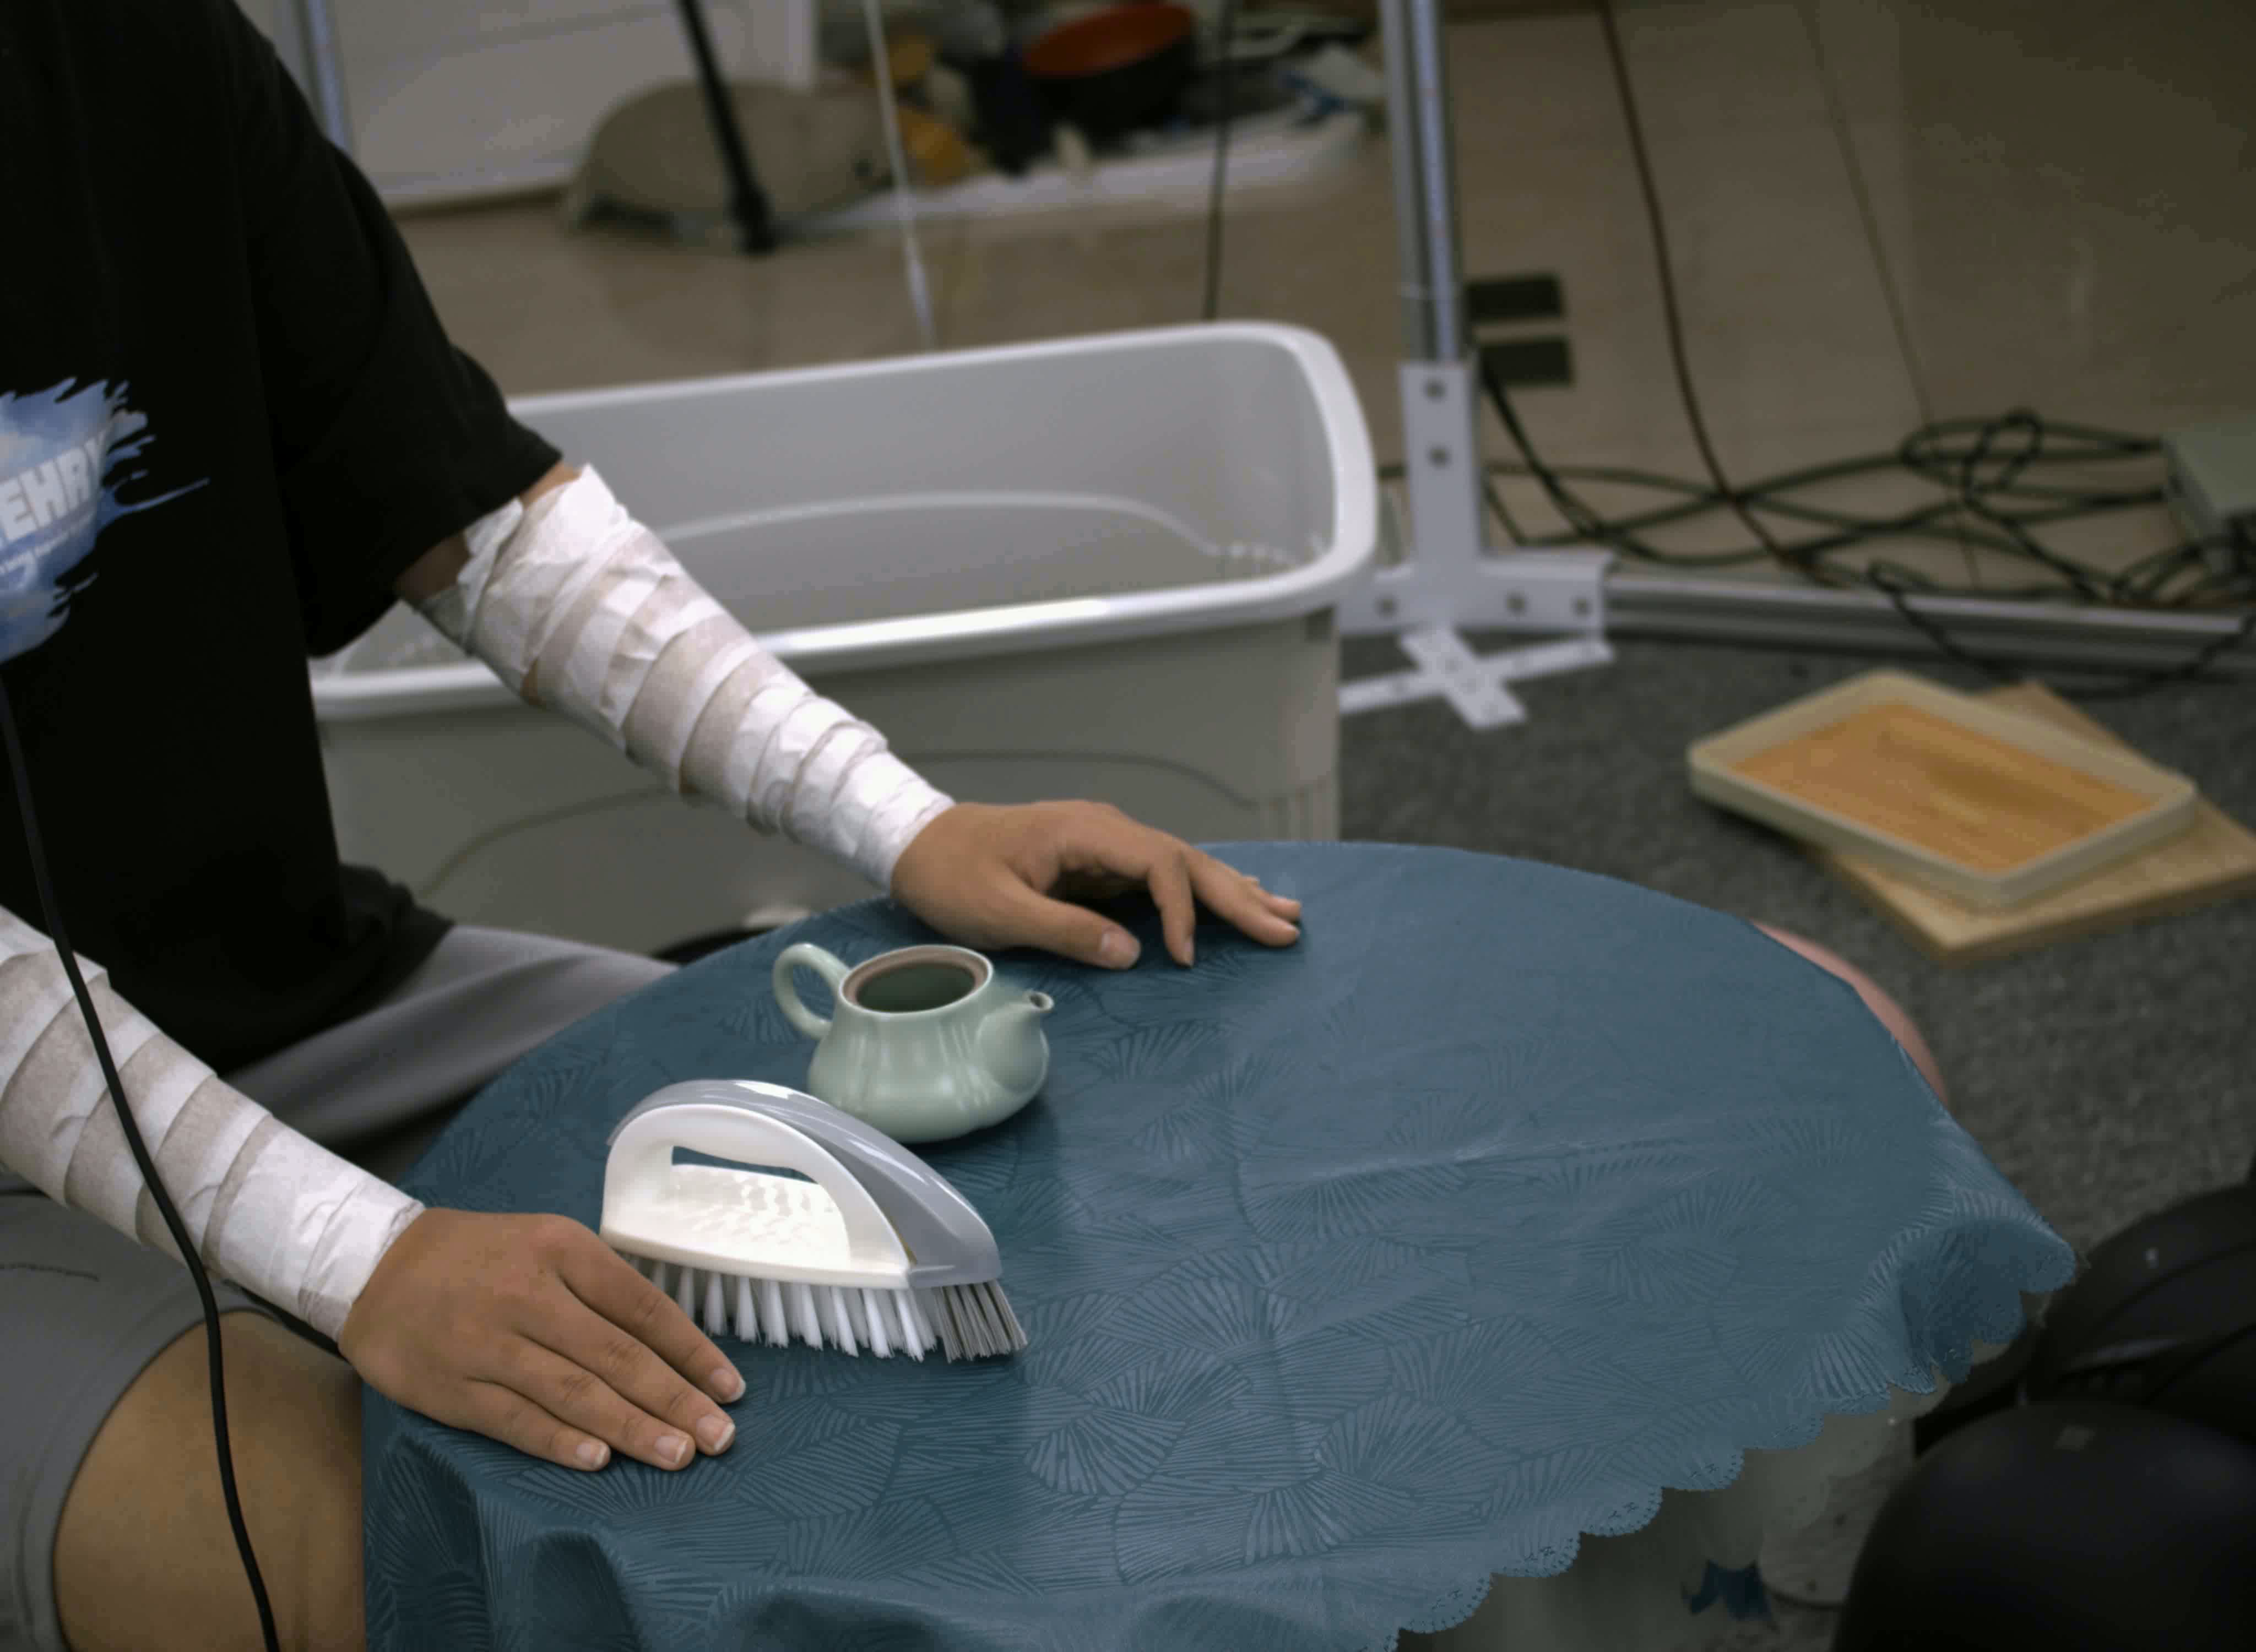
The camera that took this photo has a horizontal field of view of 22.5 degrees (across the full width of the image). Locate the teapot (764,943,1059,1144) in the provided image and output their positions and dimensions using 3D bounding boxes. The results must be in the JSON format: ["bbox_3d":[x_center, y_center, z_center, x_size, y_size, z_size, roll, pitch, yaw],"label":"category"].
[{"bbox_3d":[-0.083,0.083,2.218,0.136,0.062,0.095,9,32,31],"label":"teapot"}]

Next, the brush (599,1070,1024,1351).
[{"bbox_3d":[-0.117,0.137,2.071,0.174,0.096,0.061,11,34,30],"label":"brush"}]
